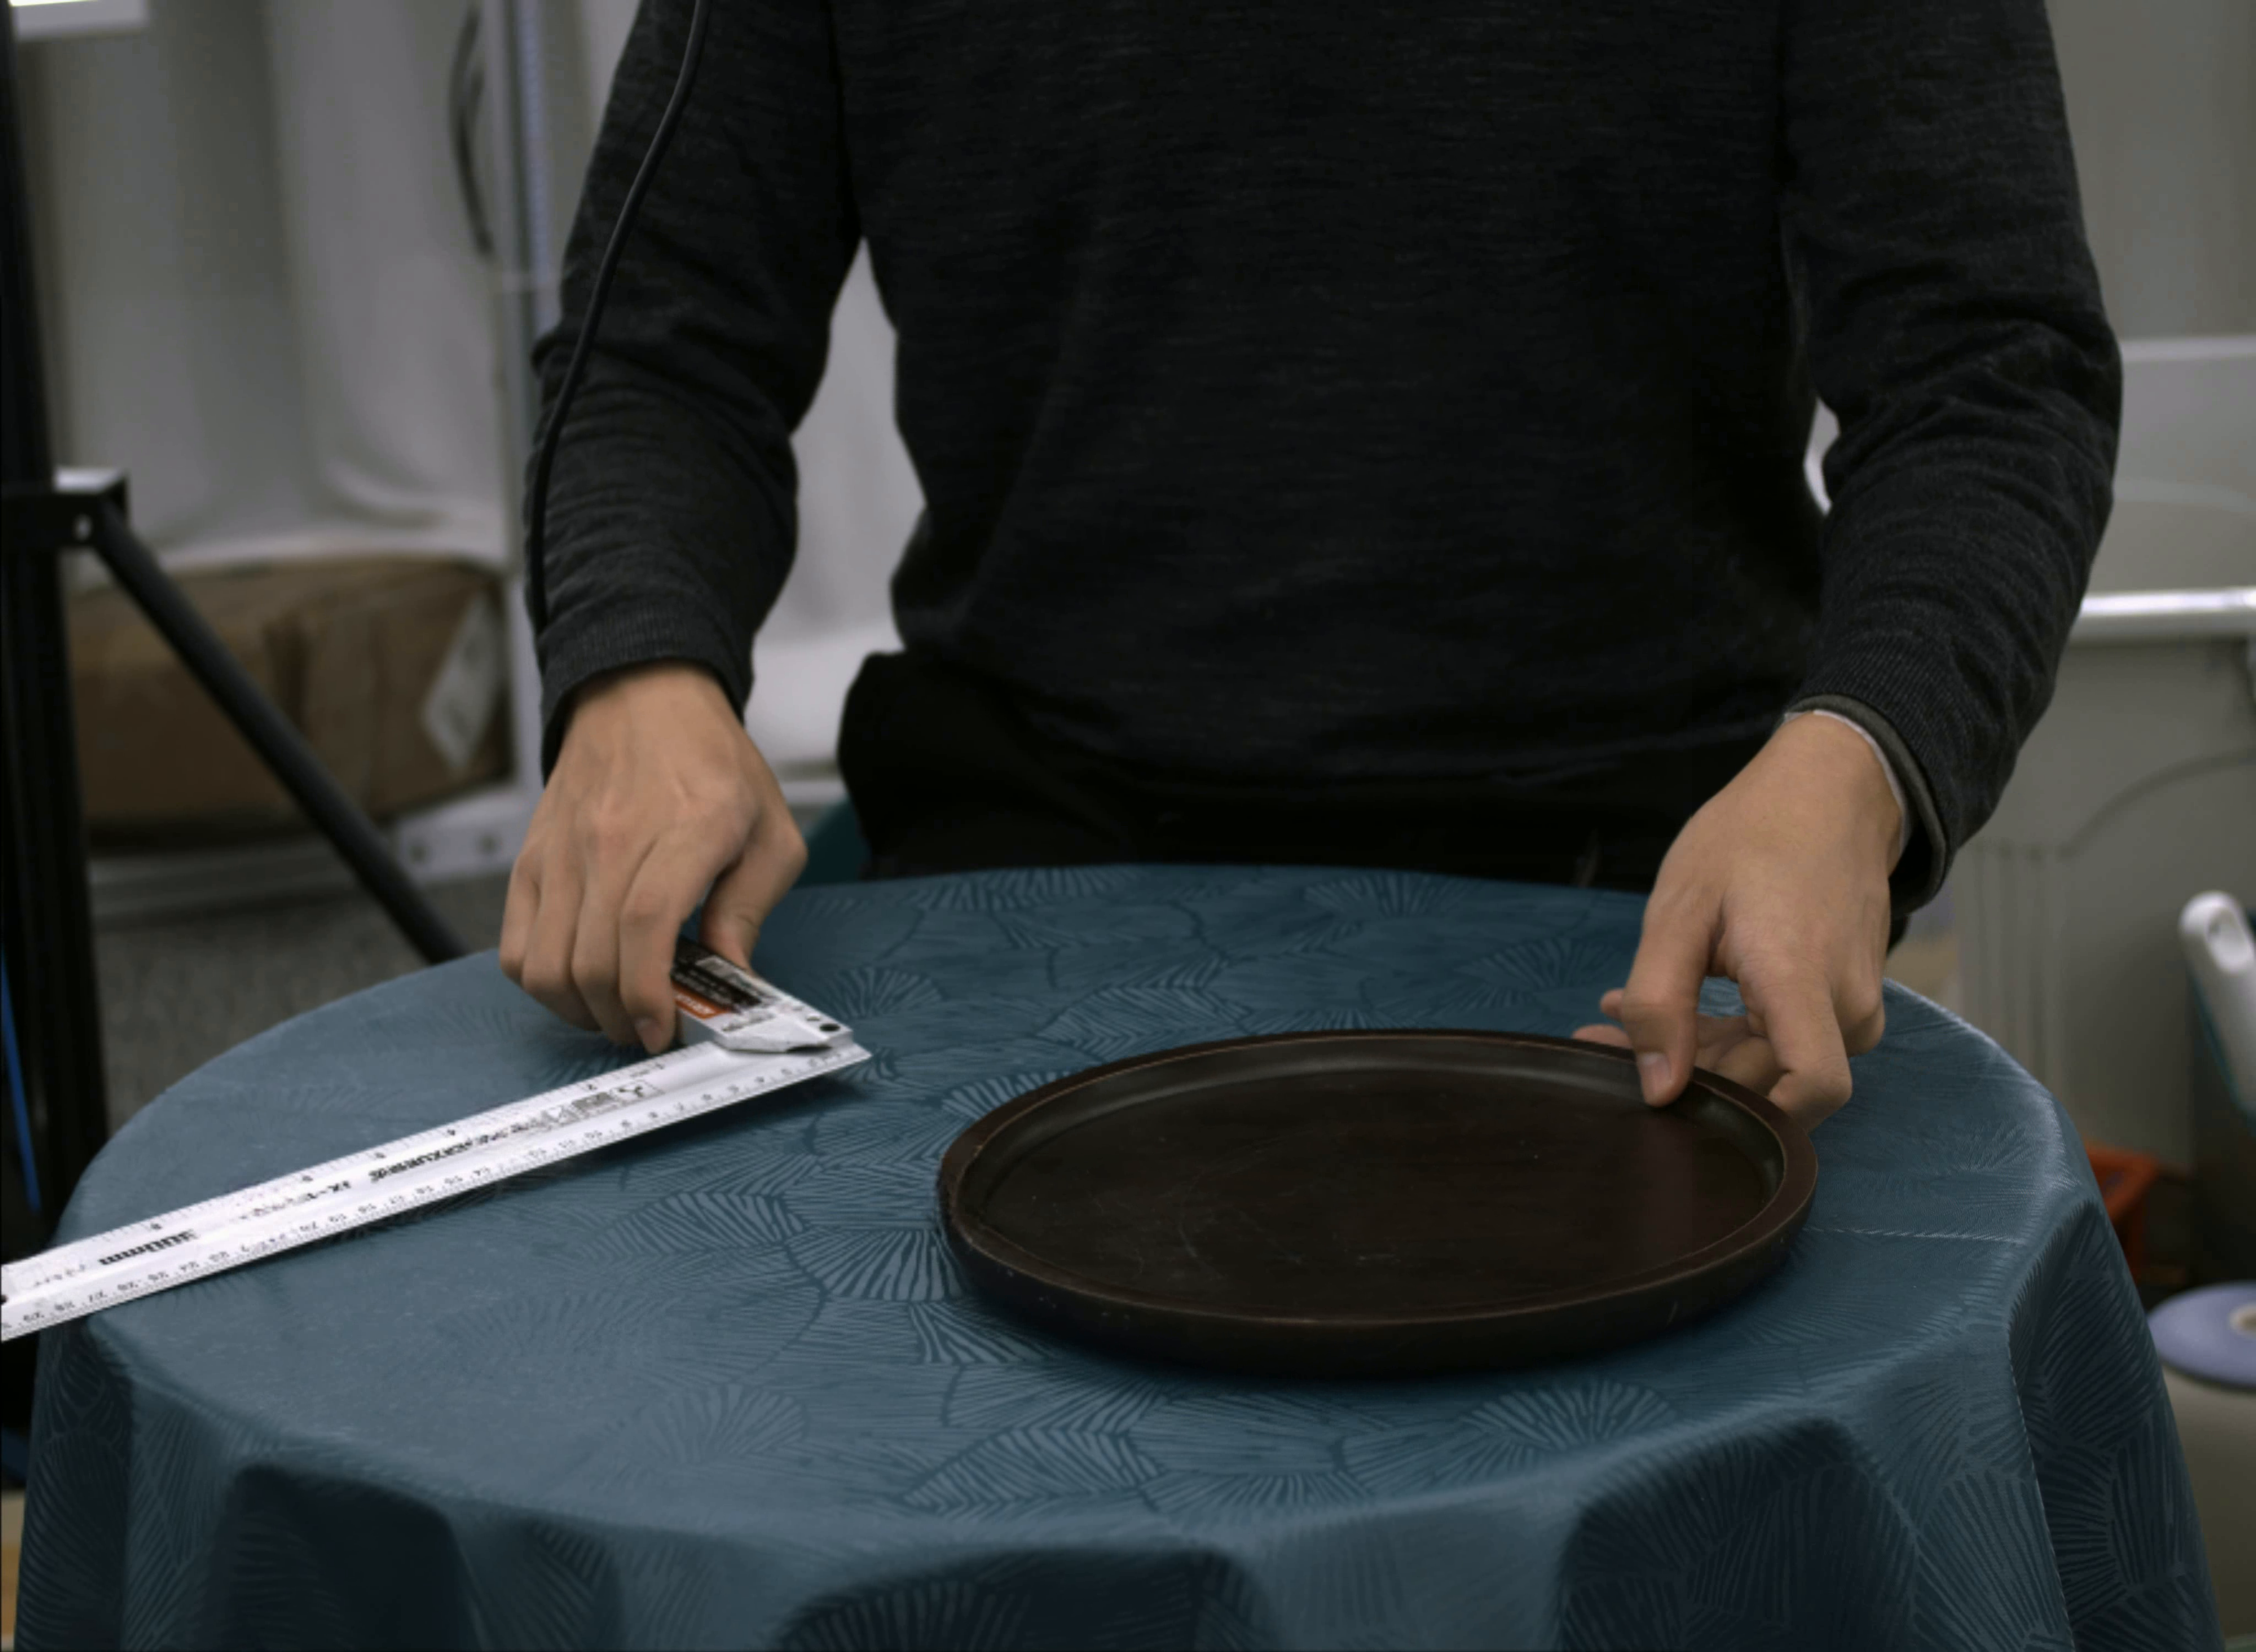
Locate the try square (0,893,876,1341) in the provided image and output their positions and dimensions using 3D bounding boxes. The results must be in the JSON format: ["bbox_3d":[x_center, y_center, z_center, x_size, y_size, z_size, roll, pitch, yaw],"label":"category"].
[{"bbox_3d":[-0.242,0.085,1.627,0.306,0.016,0.156,-17,28,-35],"label":"try square"}]

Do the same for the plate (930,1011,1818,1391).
[{"bbox_3d":[0.070,0.107,1.508,0.253,0.029,0.256,-4,16,0],"label":"plate"}]
